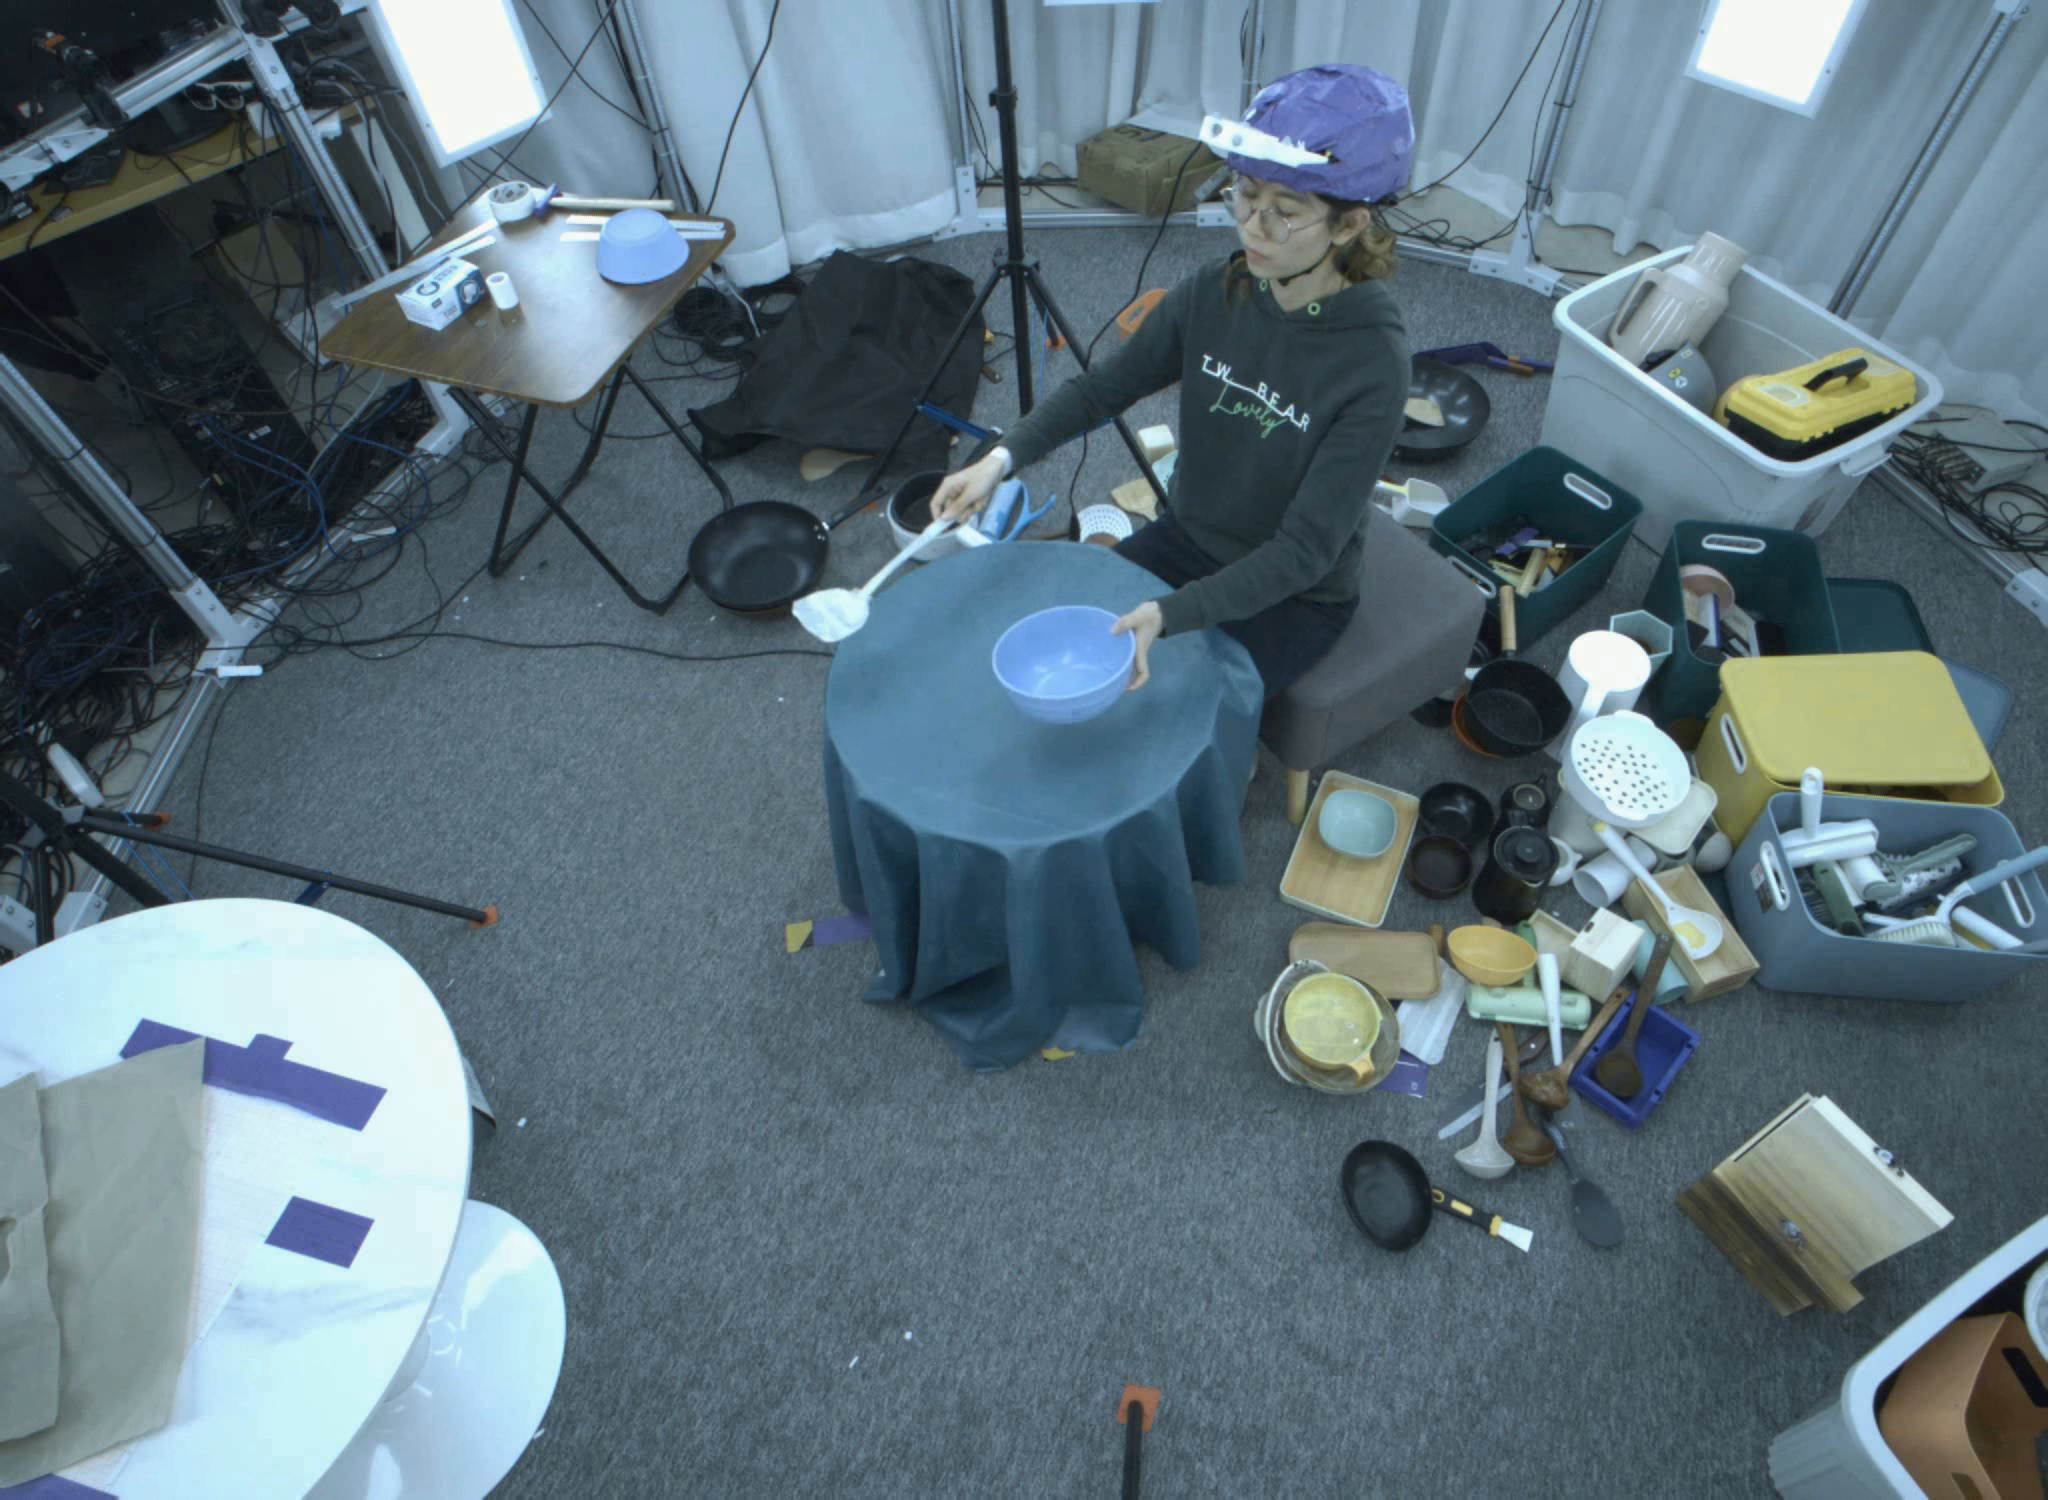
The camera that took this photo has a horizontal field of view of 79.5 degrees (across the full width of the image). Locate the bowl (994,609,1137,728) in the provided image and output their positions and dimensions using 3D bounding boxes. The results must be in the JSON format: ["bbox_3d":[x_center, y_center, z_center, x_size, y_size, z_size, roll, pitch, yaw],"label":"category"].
[{"bbox_3d":[0.064,-0.098,1.704,0.195,0.097,0.194,-6,45,7],"label":"bowl"}]

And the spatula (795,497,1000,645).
[{"bbox_3d":[-0.181,-0.282,1.820,0.366,0.045,0.097,-42,68,-12],"label":"spatula"}]
